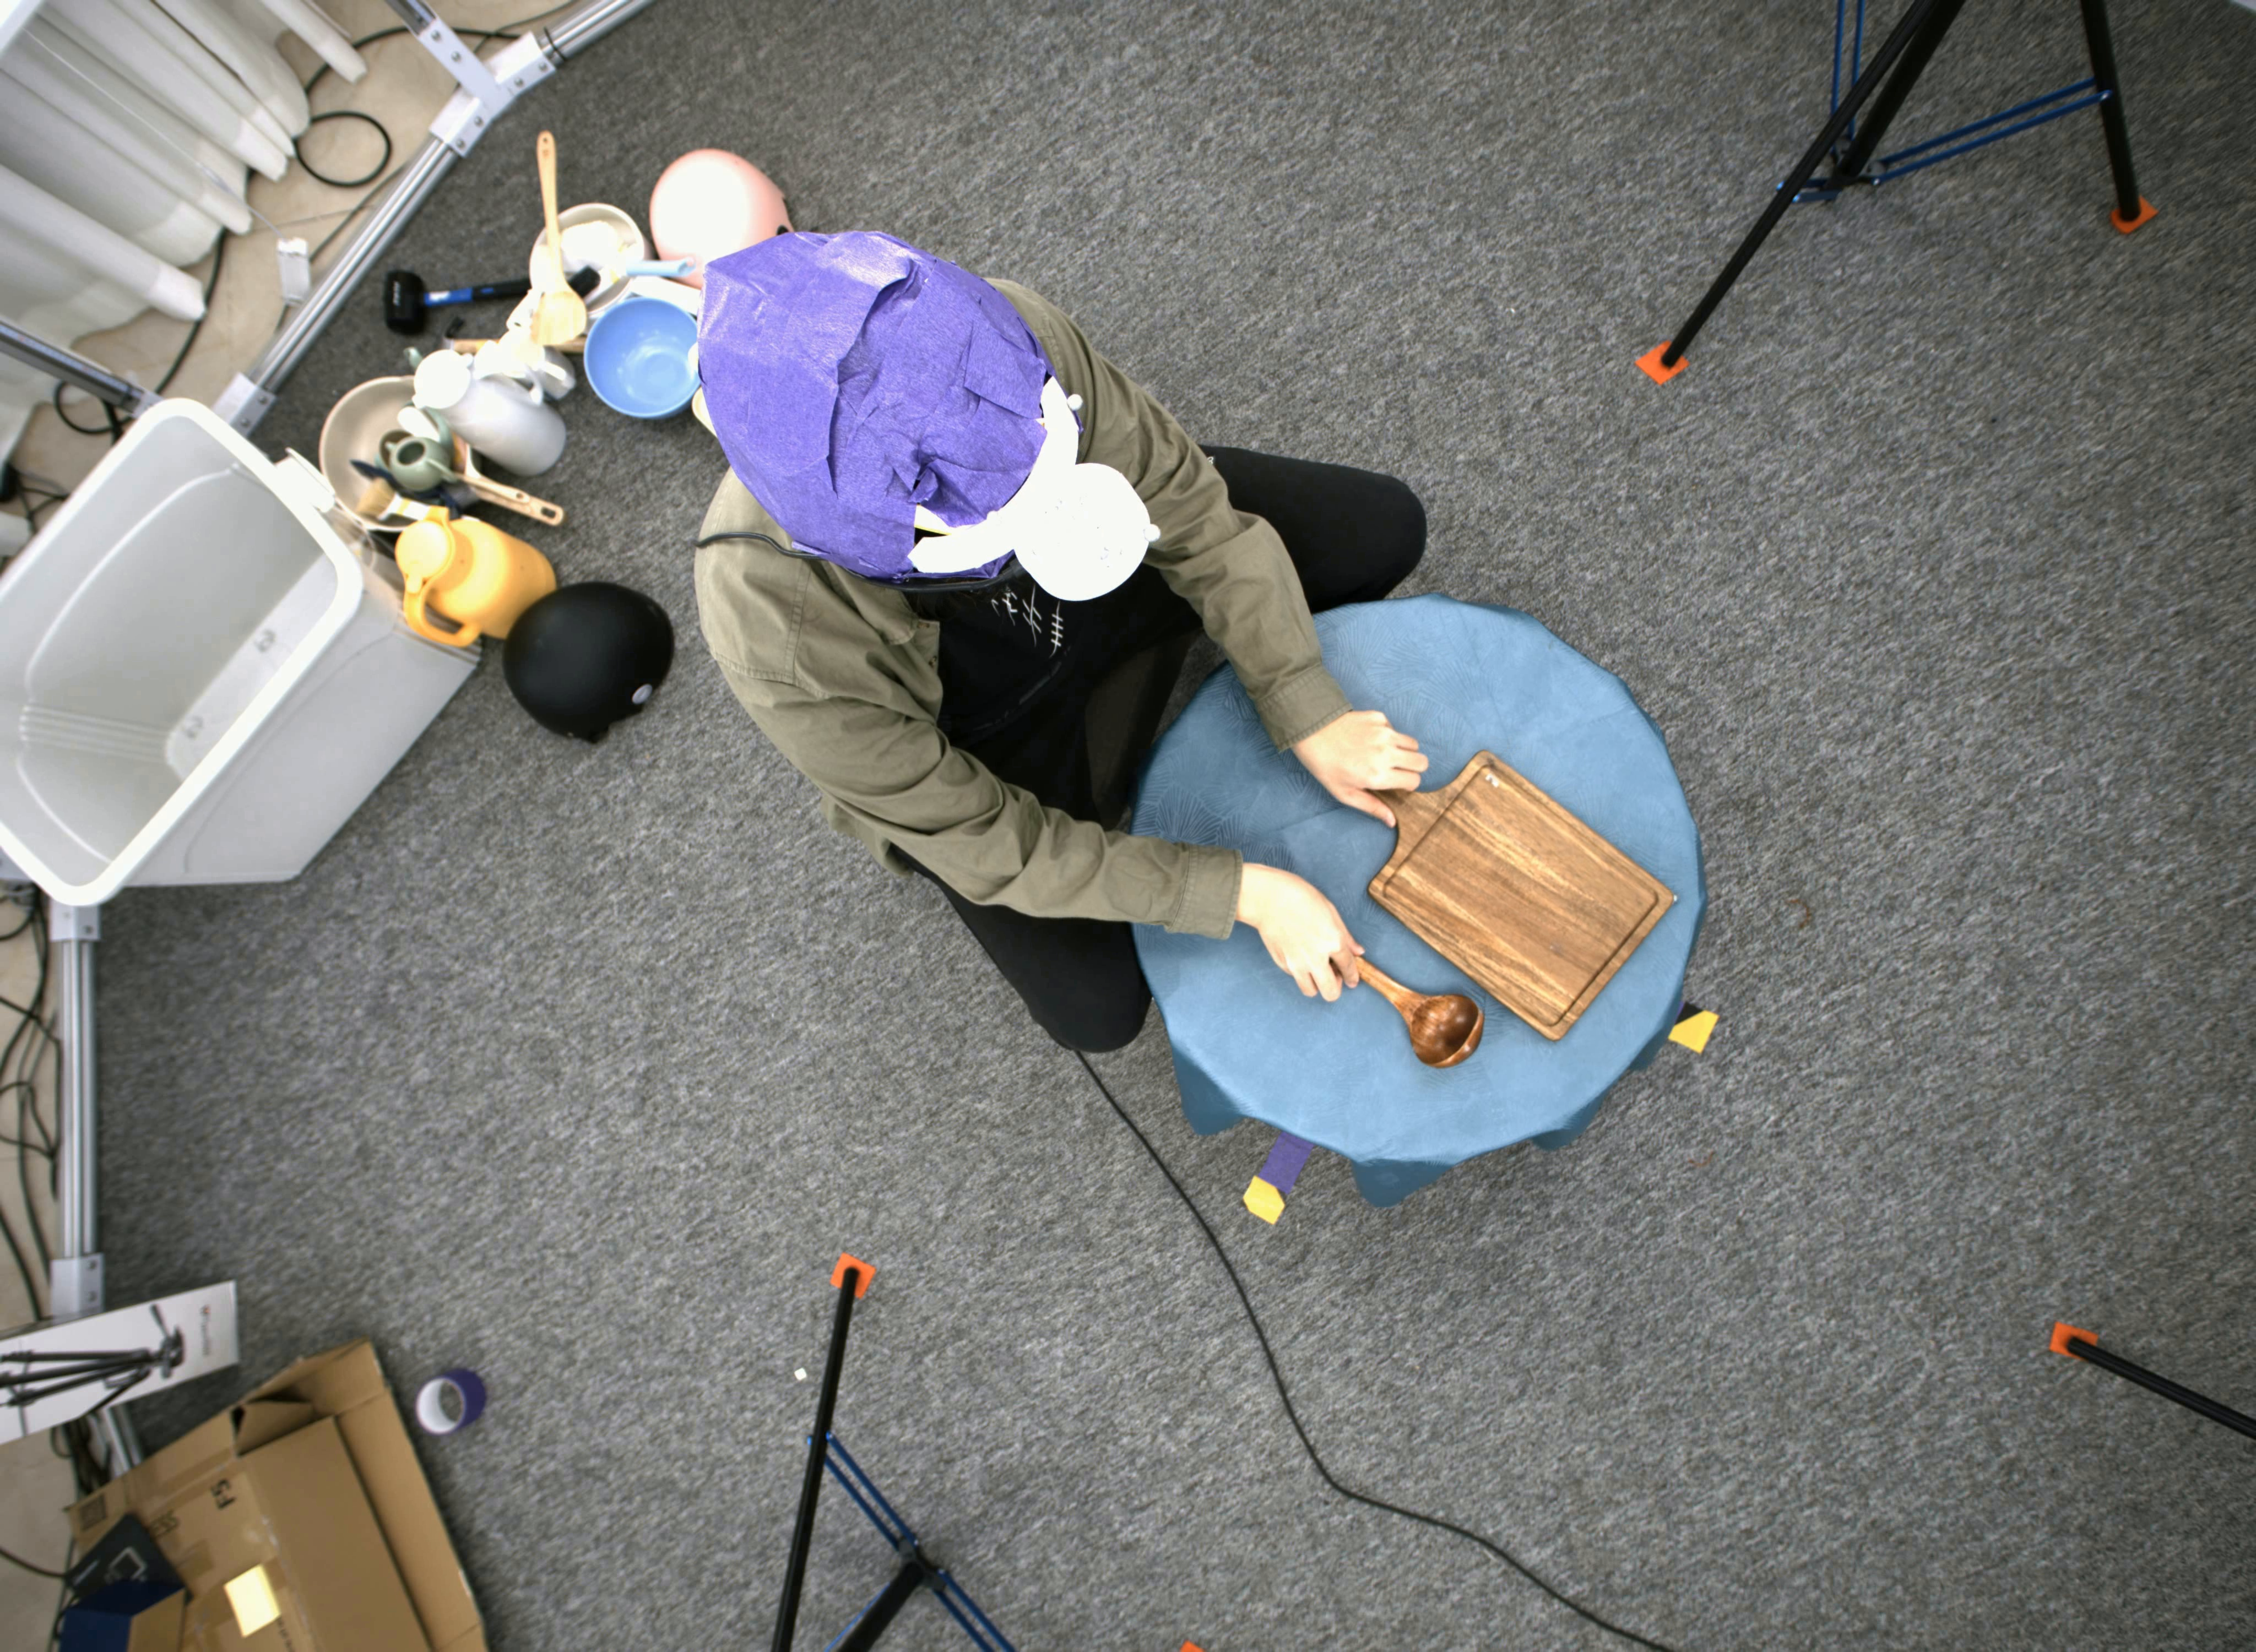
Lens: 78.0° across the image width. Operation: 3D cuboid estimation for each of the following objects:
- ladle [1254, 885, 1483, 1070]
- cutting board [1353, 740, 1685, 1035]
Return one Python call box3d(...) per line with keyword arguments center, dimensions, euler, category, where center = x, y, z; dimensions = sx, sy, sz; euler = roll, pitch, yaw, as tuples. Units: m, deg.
box3d(center=(0.239, 0.146, 1.413), dimensions=(0.273, 0.077, 0.081), euler=(37, 86, 10), category="ladle")
box3d(center=(0.374, 0.027, 1.421), dimensions=(0.351, 0.023, 0.202), euler=(41, 94, 9), category="cutting board")
